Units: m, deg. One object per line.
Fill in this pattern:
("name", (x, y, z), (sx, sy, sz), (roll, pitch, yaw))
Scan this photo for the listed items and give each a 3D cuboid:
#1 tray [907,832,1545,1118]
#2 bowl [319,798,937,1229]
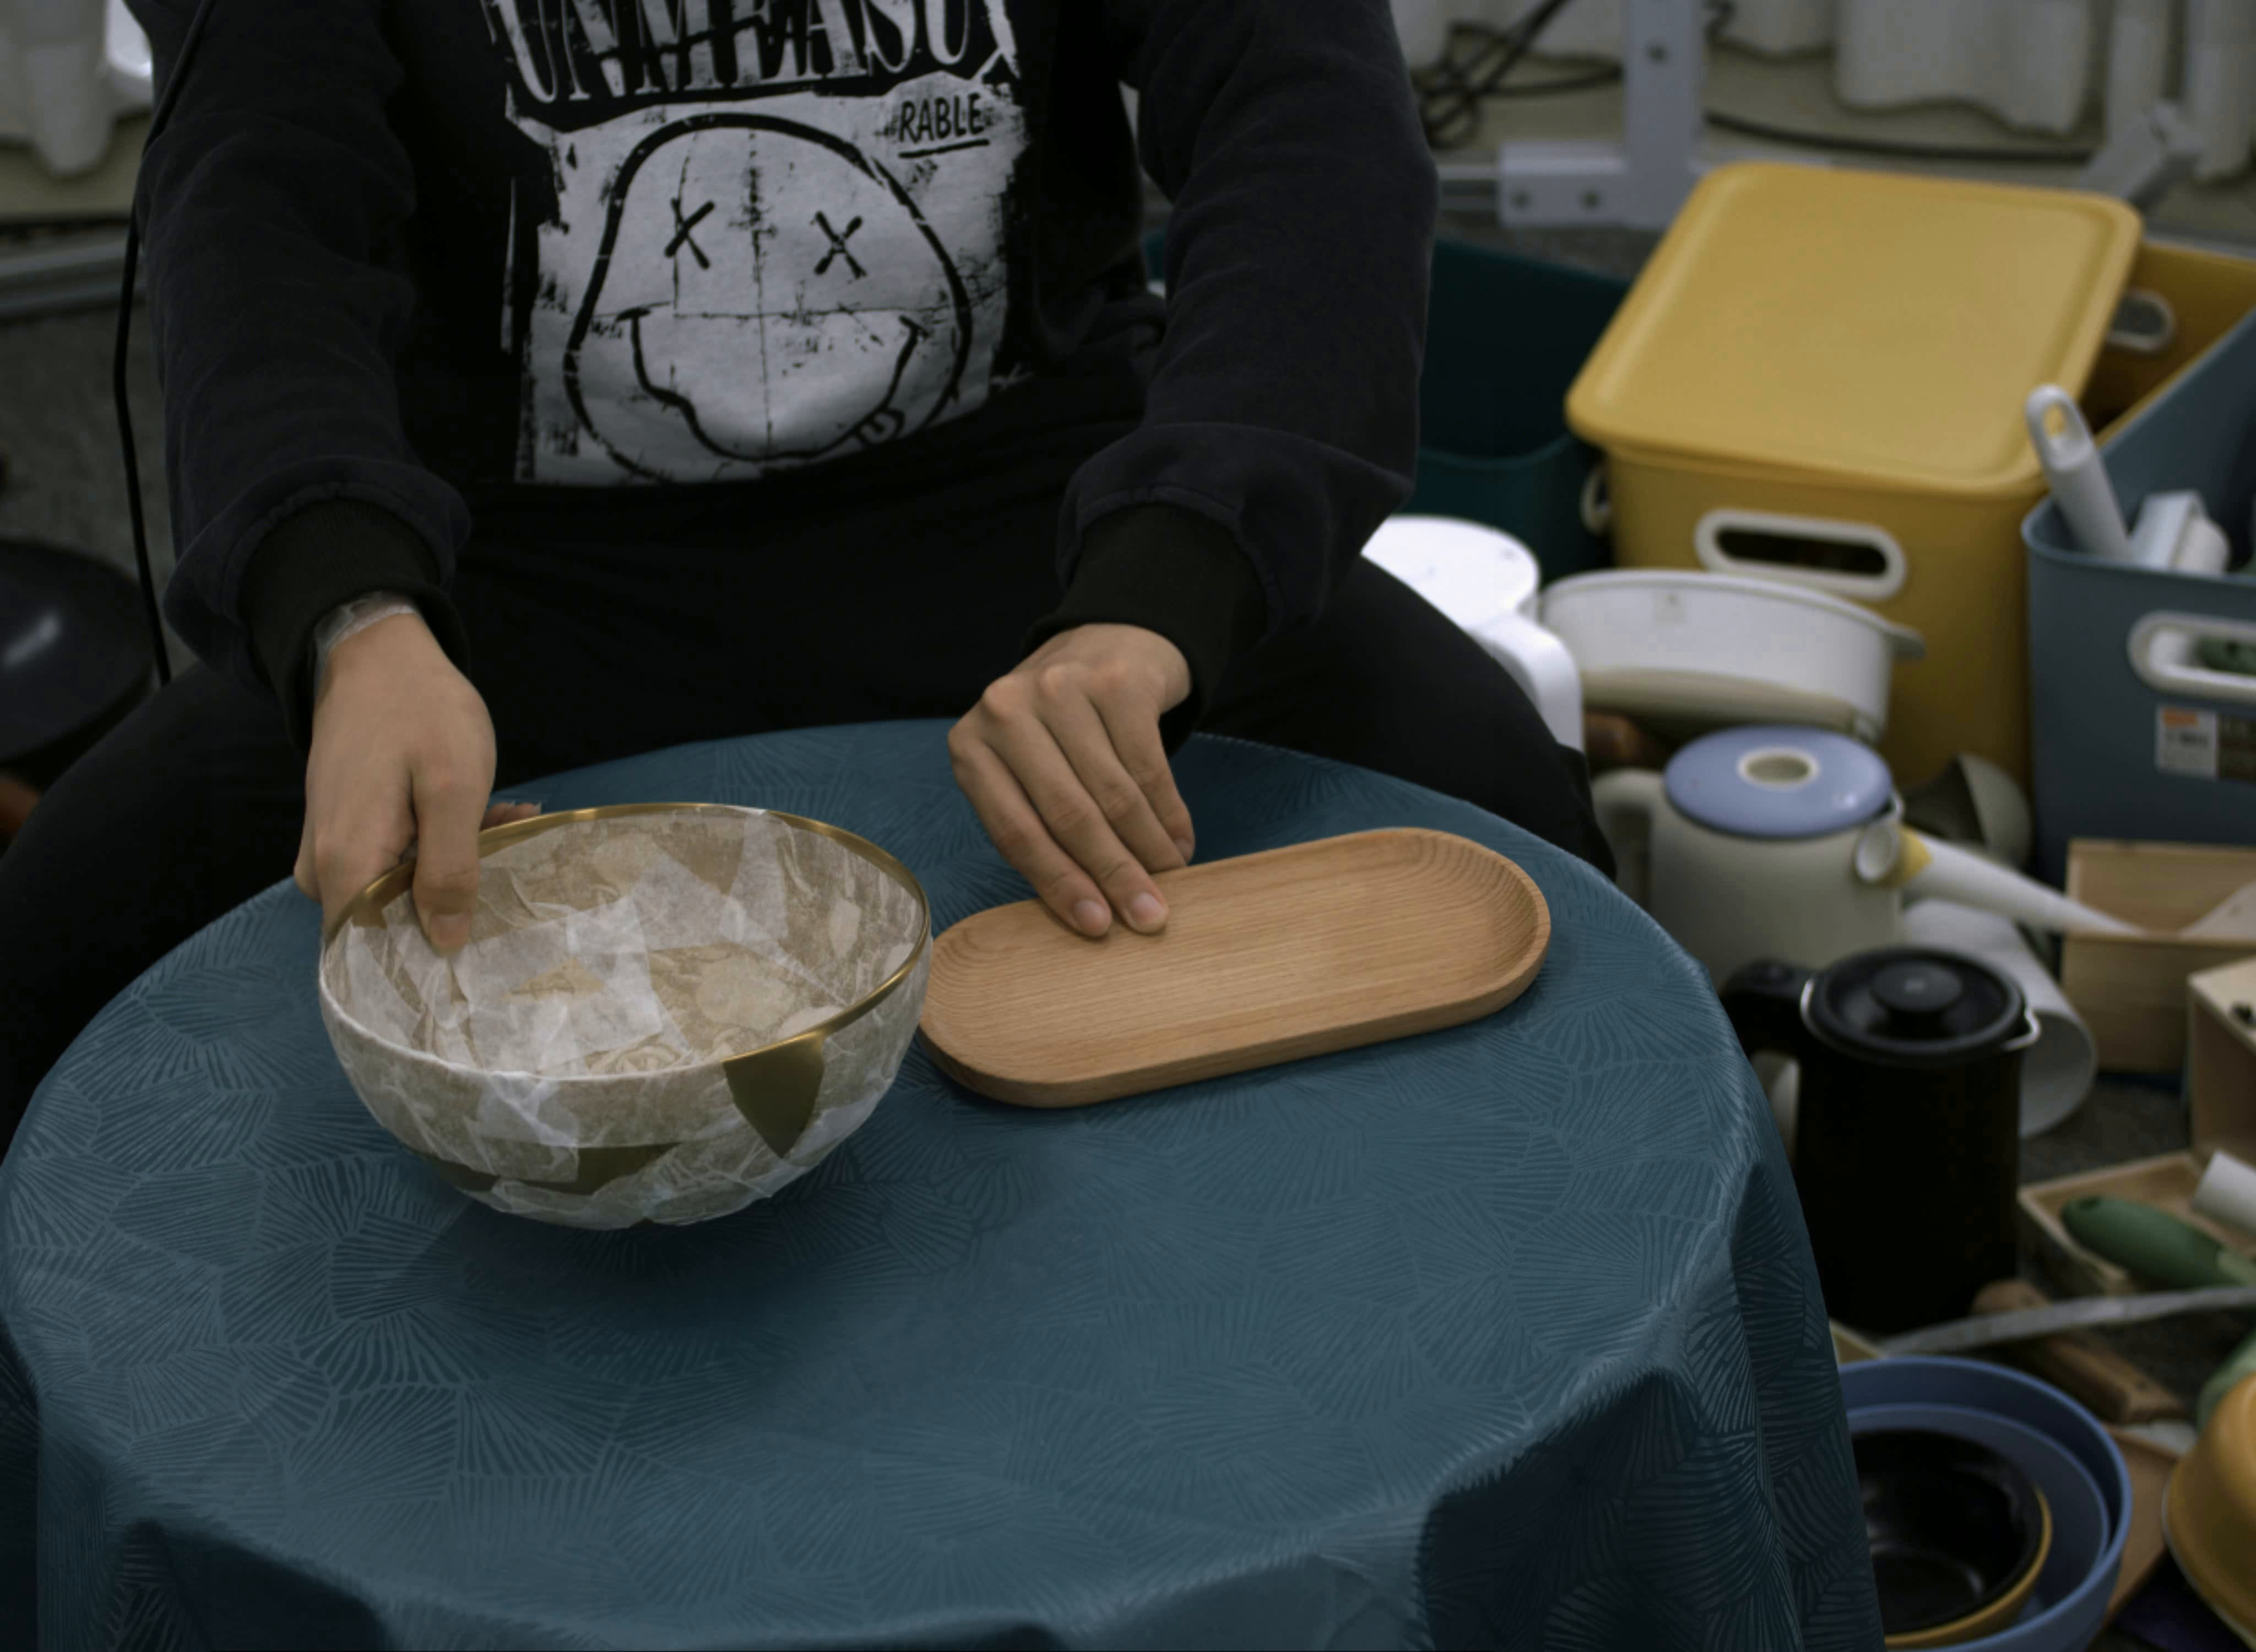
("tray", (0.034, 0.052, 1.960), (0.231, 0.020, 0.103), (-13, 37, -15))
("bowl", (-0.158, 0.073, 1.849), (0.213, 0.094, 0.217), (-2, 24, 1))
